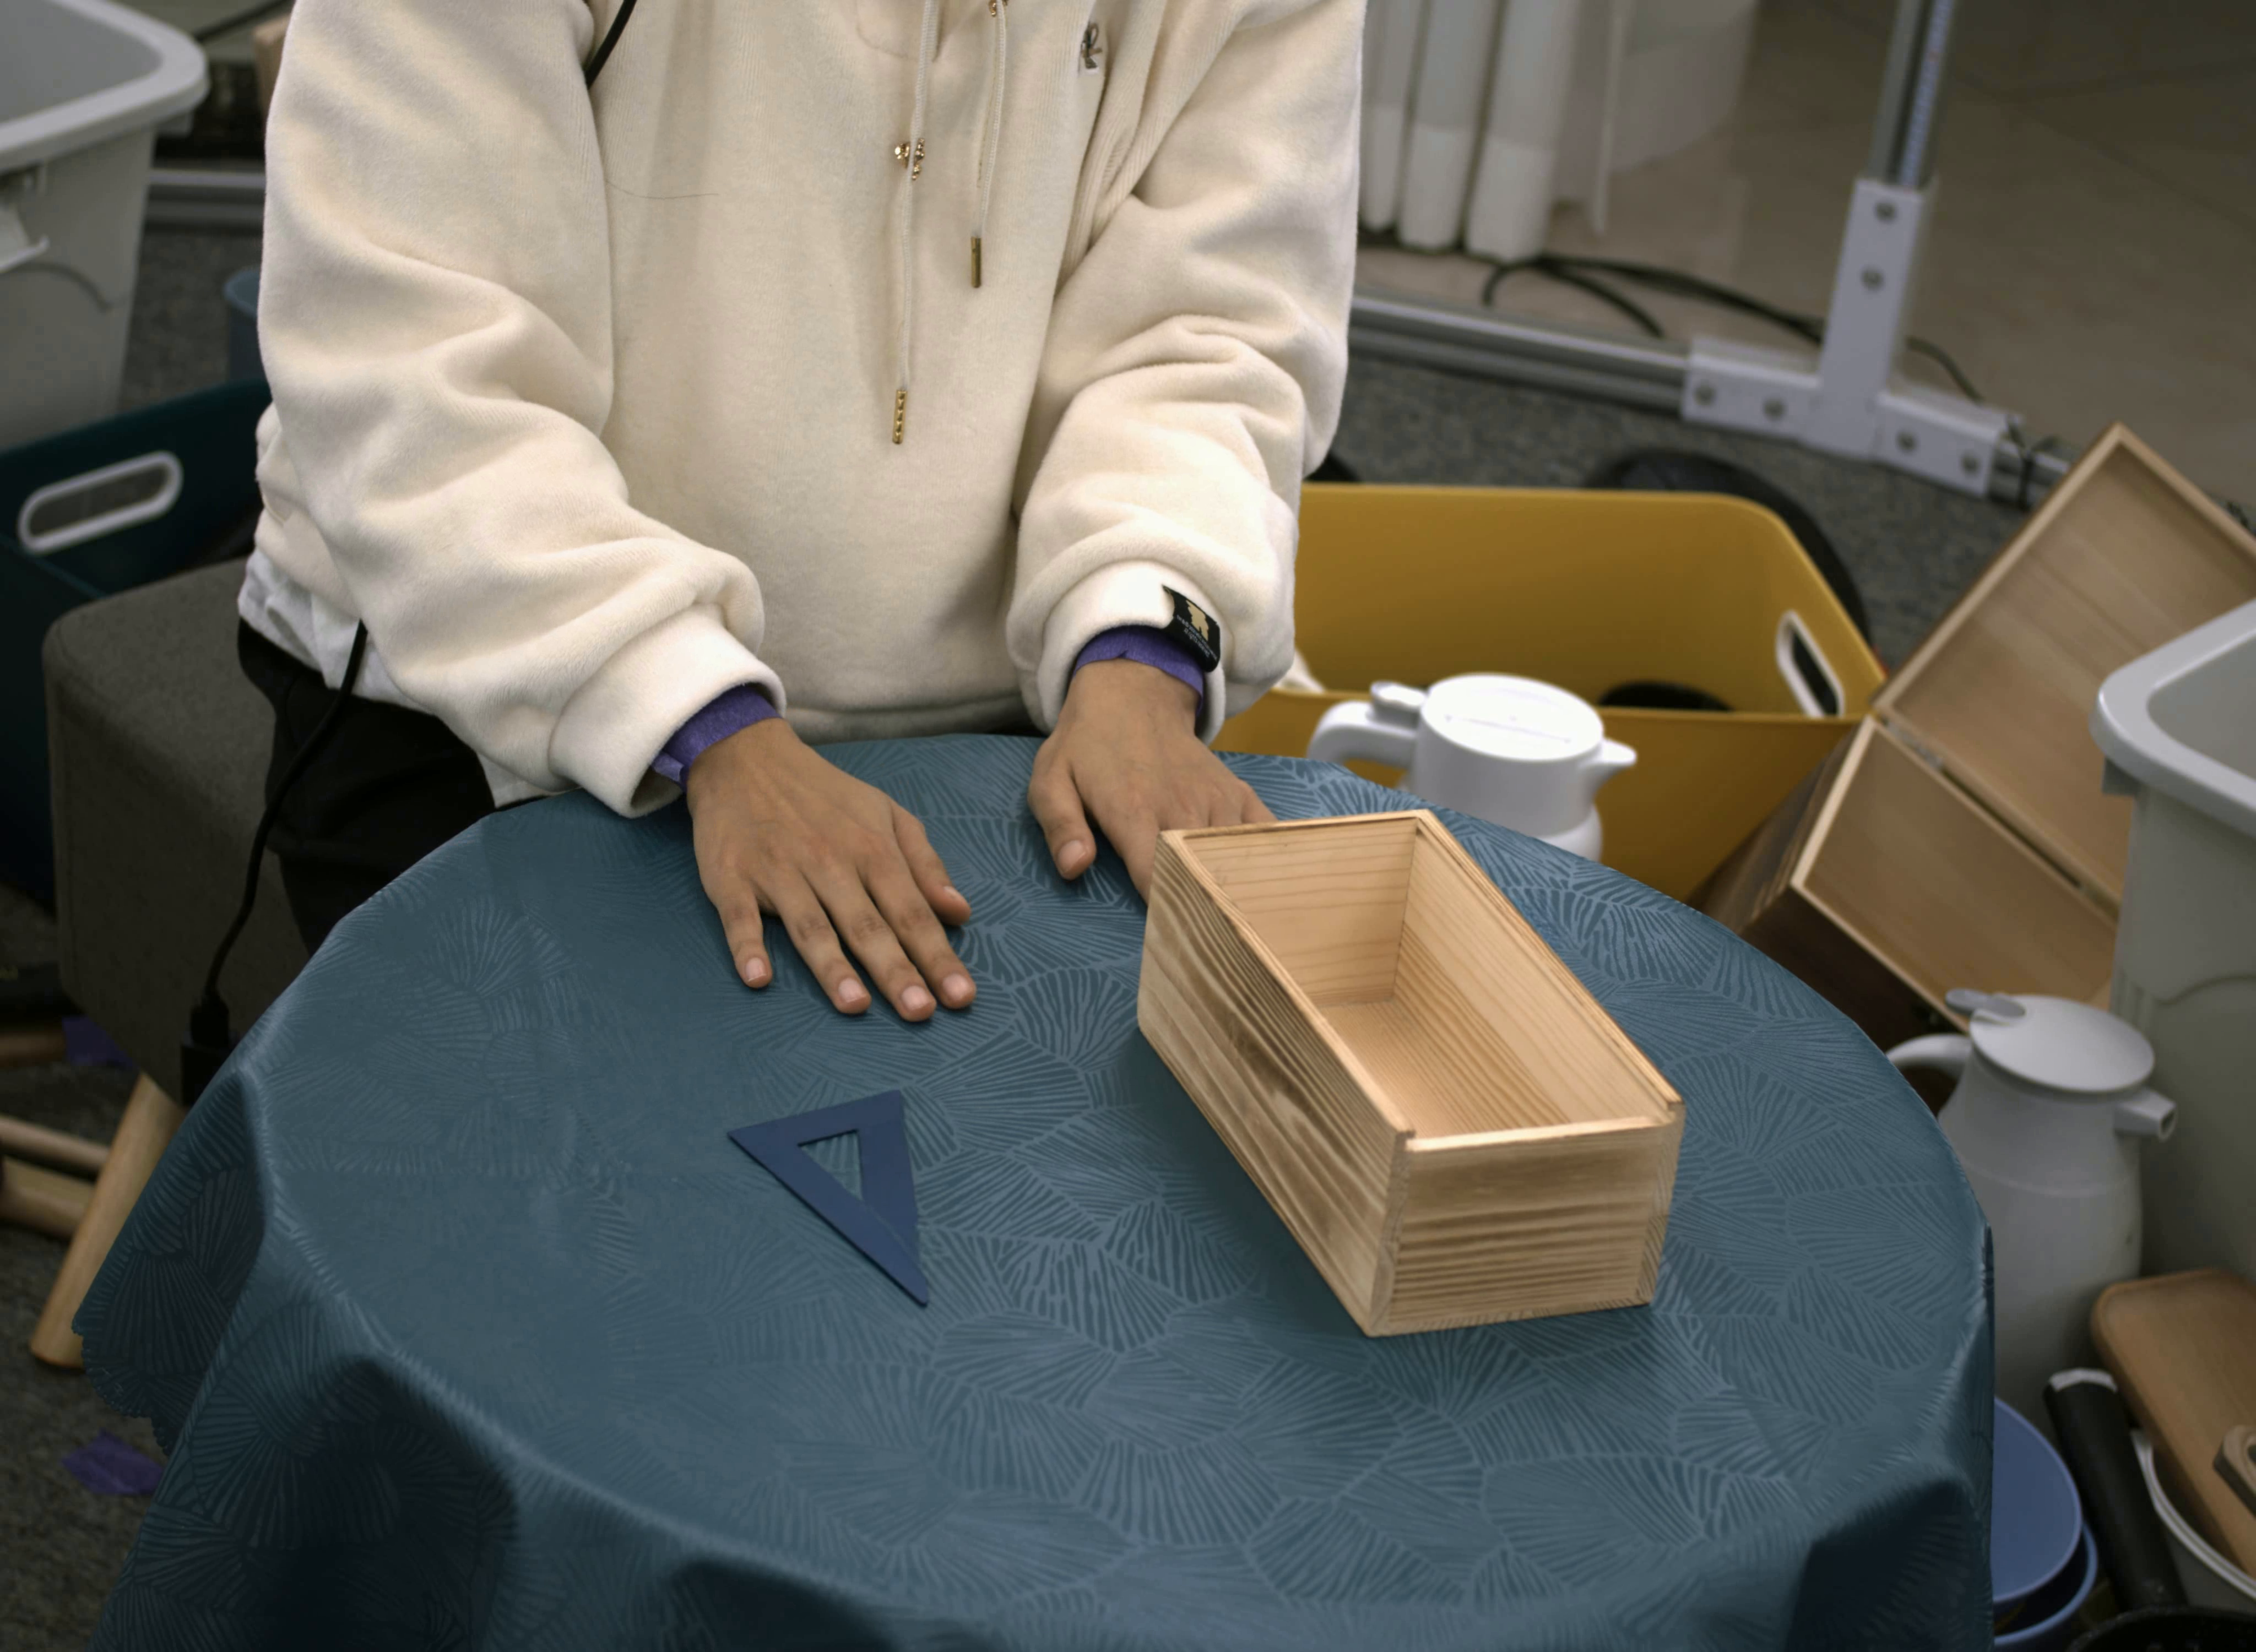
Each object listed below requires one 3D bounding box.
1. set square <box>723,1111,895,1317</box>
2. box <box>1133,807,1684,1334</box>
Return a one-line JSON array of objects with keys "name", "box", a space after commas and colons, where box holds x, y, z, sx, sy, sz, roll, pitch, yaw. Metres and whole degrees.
[{"name": "set square", "box": [-0.107, 0.125, 1.771, 0.061, 0.006, 0.133, 5, 27, -4]}, {"name": "box", "box": [0.092, 0.080, 1.821, 0.107, 0.080, 0.213, -4, 29, -22]}]
